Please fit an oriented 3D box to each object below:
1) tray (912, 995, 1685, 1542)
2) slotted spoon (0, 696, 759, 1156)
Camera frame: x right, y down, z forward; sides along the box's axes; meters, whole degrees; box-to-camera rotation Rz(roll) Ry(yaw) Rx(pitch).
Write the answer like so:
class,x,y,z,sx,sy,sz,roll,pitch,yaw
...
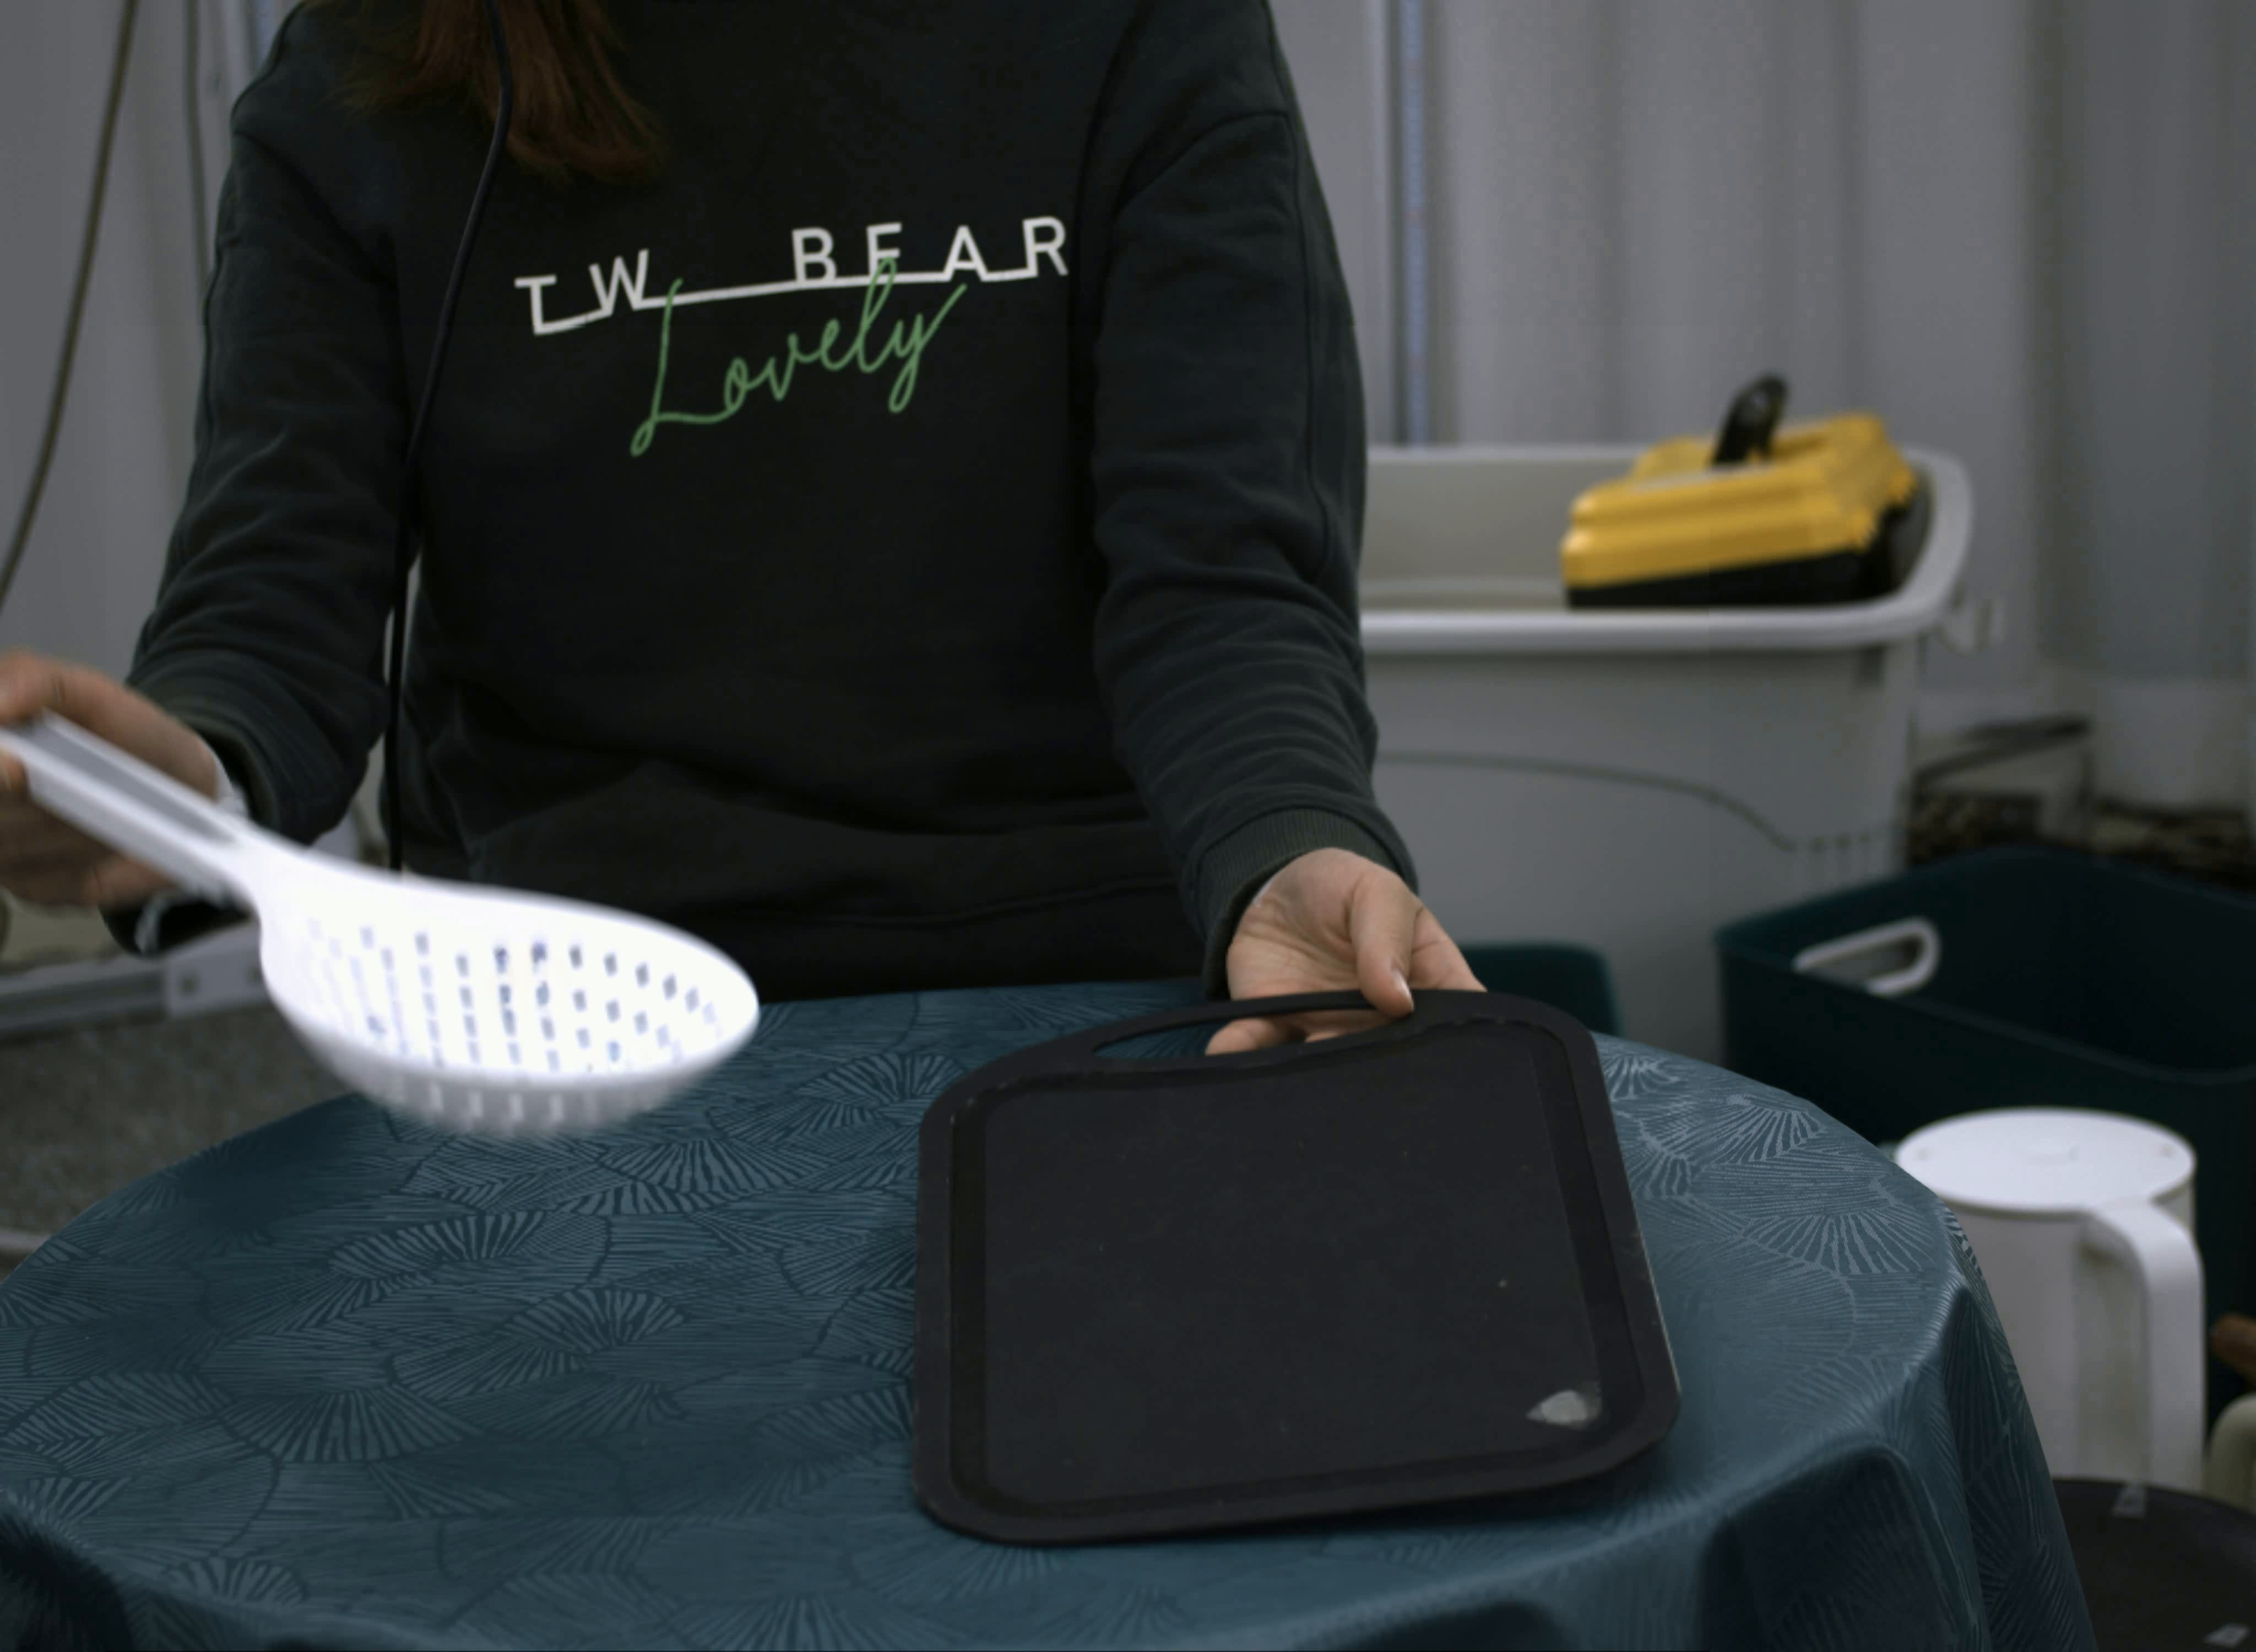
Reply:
class,x,y,z,sx,sy,sz,roll,pitch,yaw
tray,0.043,0.118,1.579,0.210,0.010,0.329,-7,22,2
slotted spoon,-0.245,0.021,1.589,0.135,0.045,0.353,-10,30,-43
